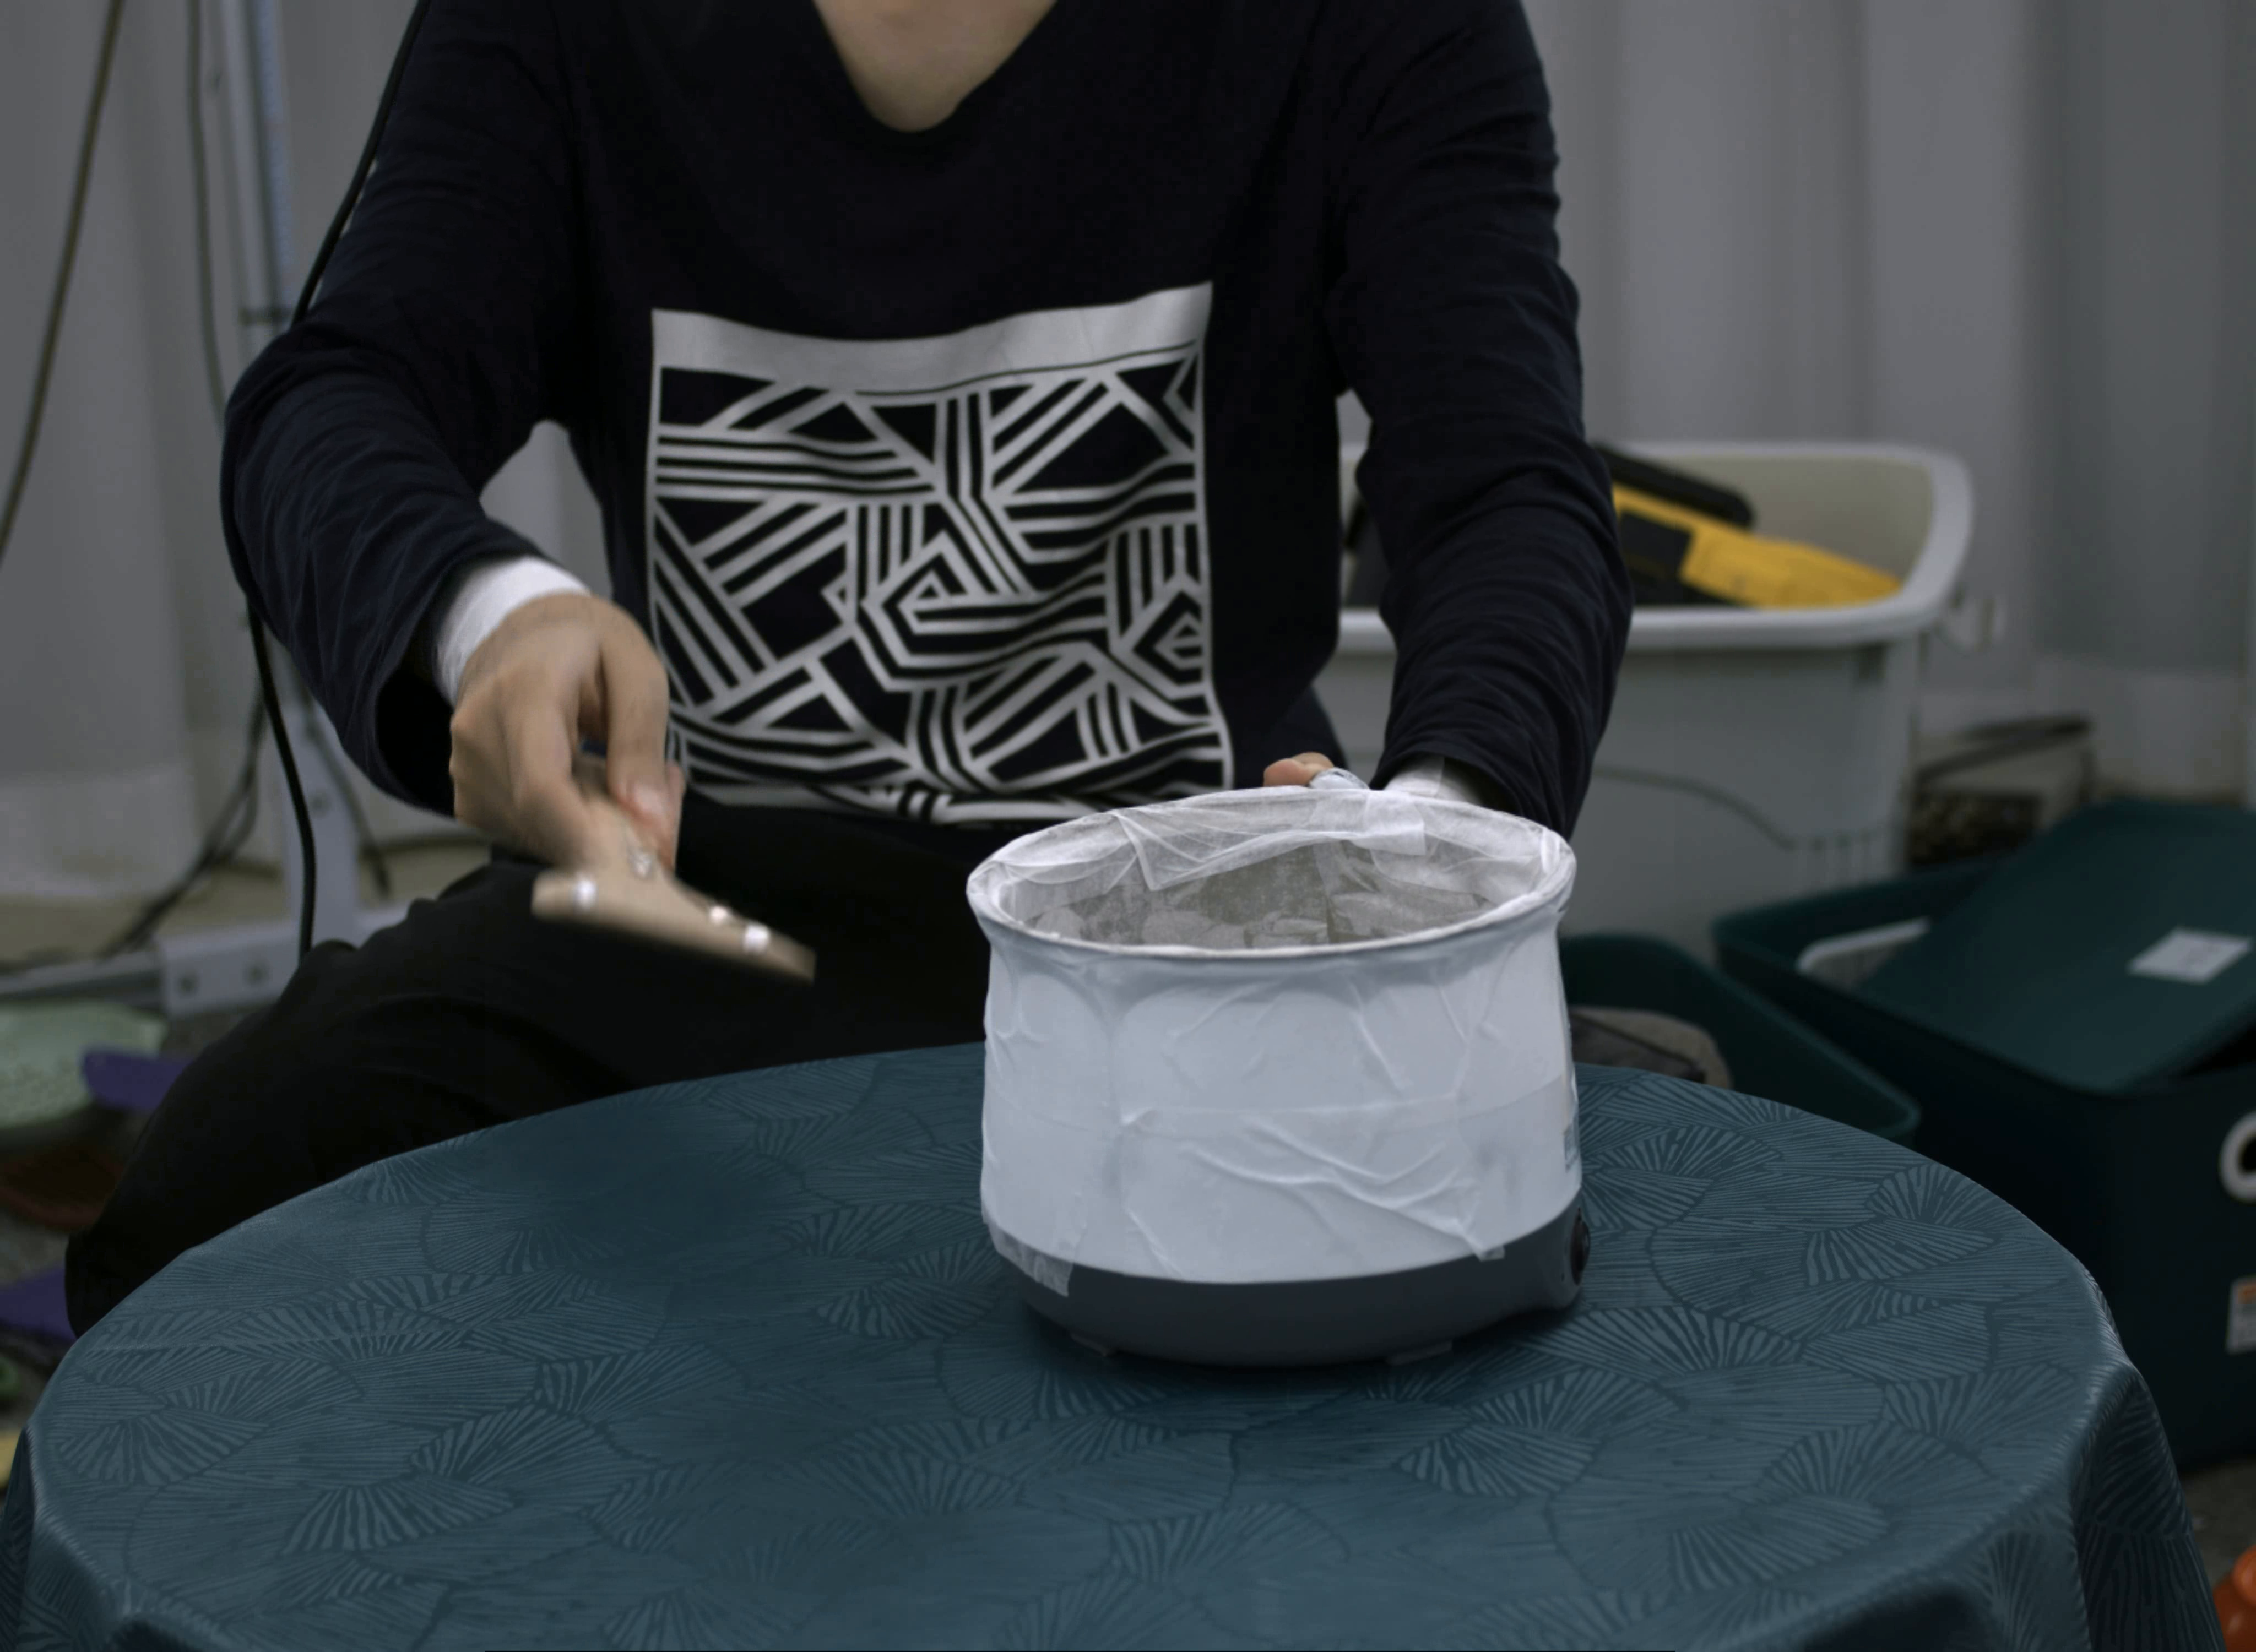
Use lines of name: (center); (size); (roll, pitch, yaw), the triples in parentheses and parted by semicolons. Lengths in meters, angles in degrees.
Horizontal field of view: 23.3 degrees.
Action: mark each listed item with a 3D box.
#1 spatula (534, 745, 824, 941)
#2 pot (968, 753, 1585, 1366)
spatula: (-0.144, 0.000, 1.611); (0.079, 0.016, 0.329); (16, 6, -12)
pot: (0.049, 0.064, 1.625); (0.178, 0.136, 0.235); (1, 16, 12)
